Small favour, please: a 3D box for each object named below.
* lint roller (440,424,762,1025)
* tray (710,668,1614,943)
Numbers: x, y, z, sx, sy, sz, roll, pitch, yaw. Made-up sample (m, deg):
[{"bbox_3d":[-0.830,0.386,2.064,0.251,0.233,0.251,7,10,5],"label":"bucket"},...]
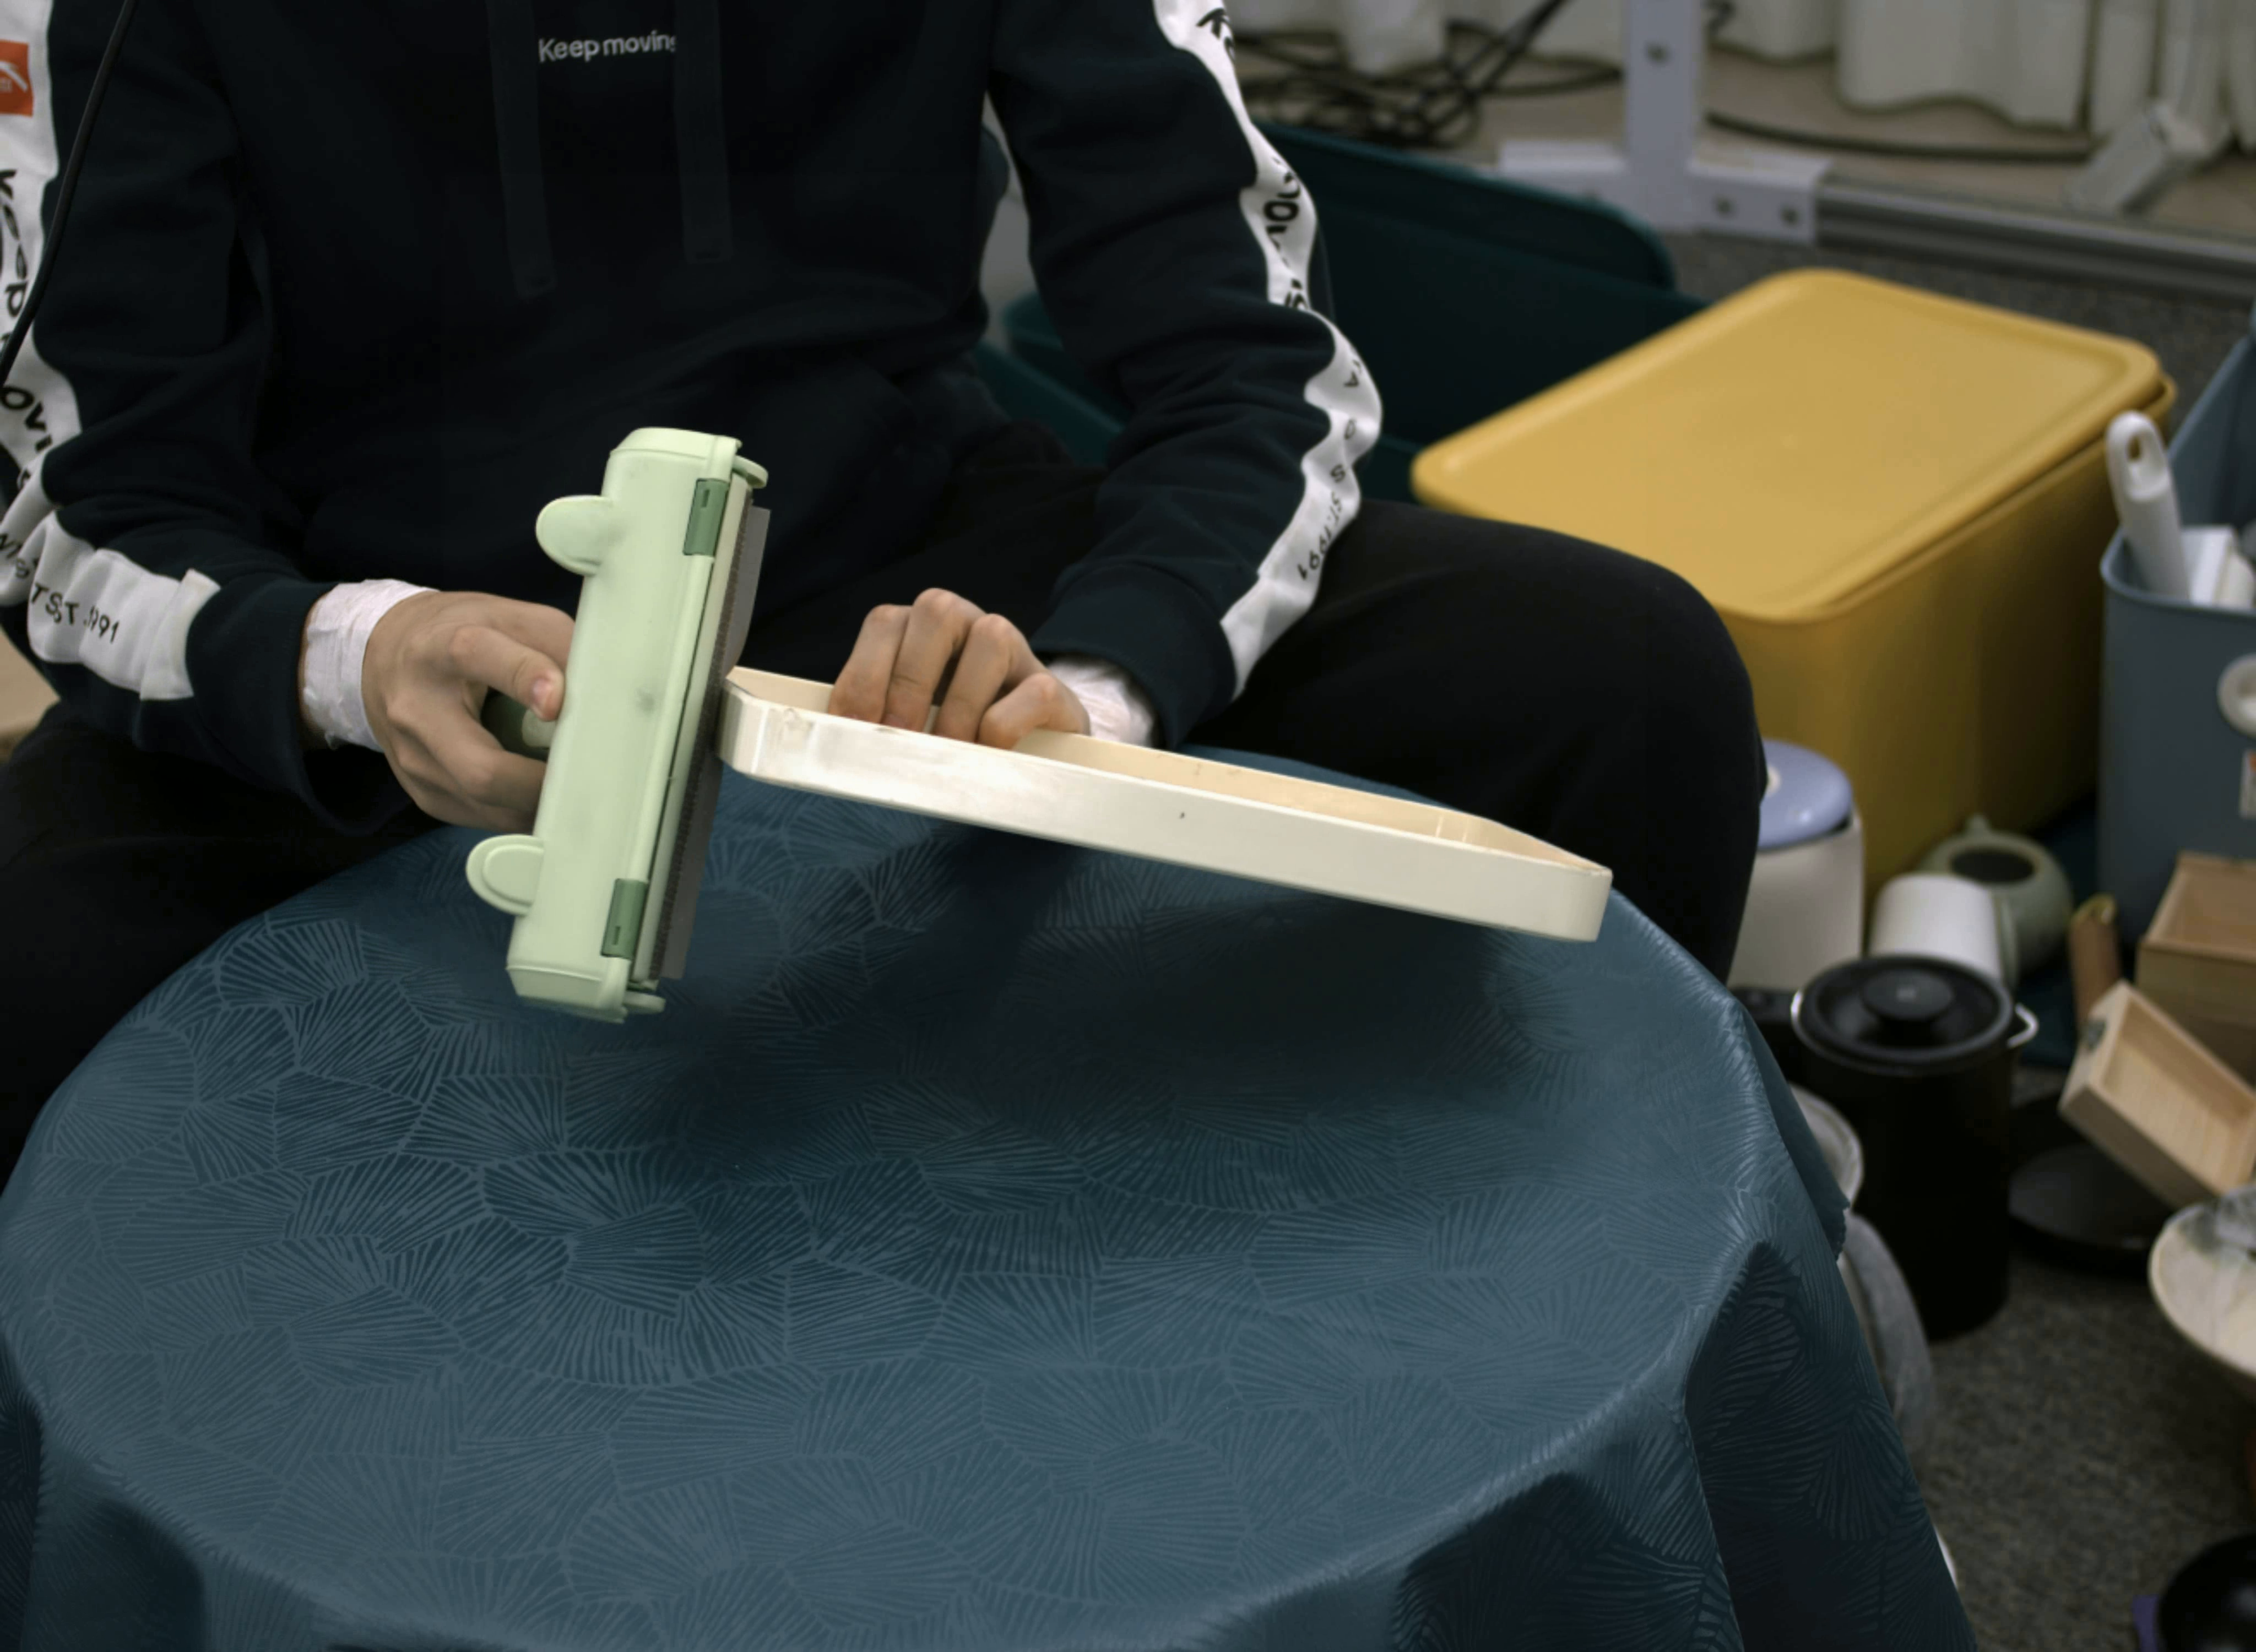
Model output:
[{"bbox_3d":[-0.204,-0.036,1.907,0.082,0.200,0.182,18,-11,-39],"label":"lint roller"},{"bbox_3d":[0.002,-0.008,1.925,0.299,0.027,0.191,12,3,-12],"label":"tray"}]
